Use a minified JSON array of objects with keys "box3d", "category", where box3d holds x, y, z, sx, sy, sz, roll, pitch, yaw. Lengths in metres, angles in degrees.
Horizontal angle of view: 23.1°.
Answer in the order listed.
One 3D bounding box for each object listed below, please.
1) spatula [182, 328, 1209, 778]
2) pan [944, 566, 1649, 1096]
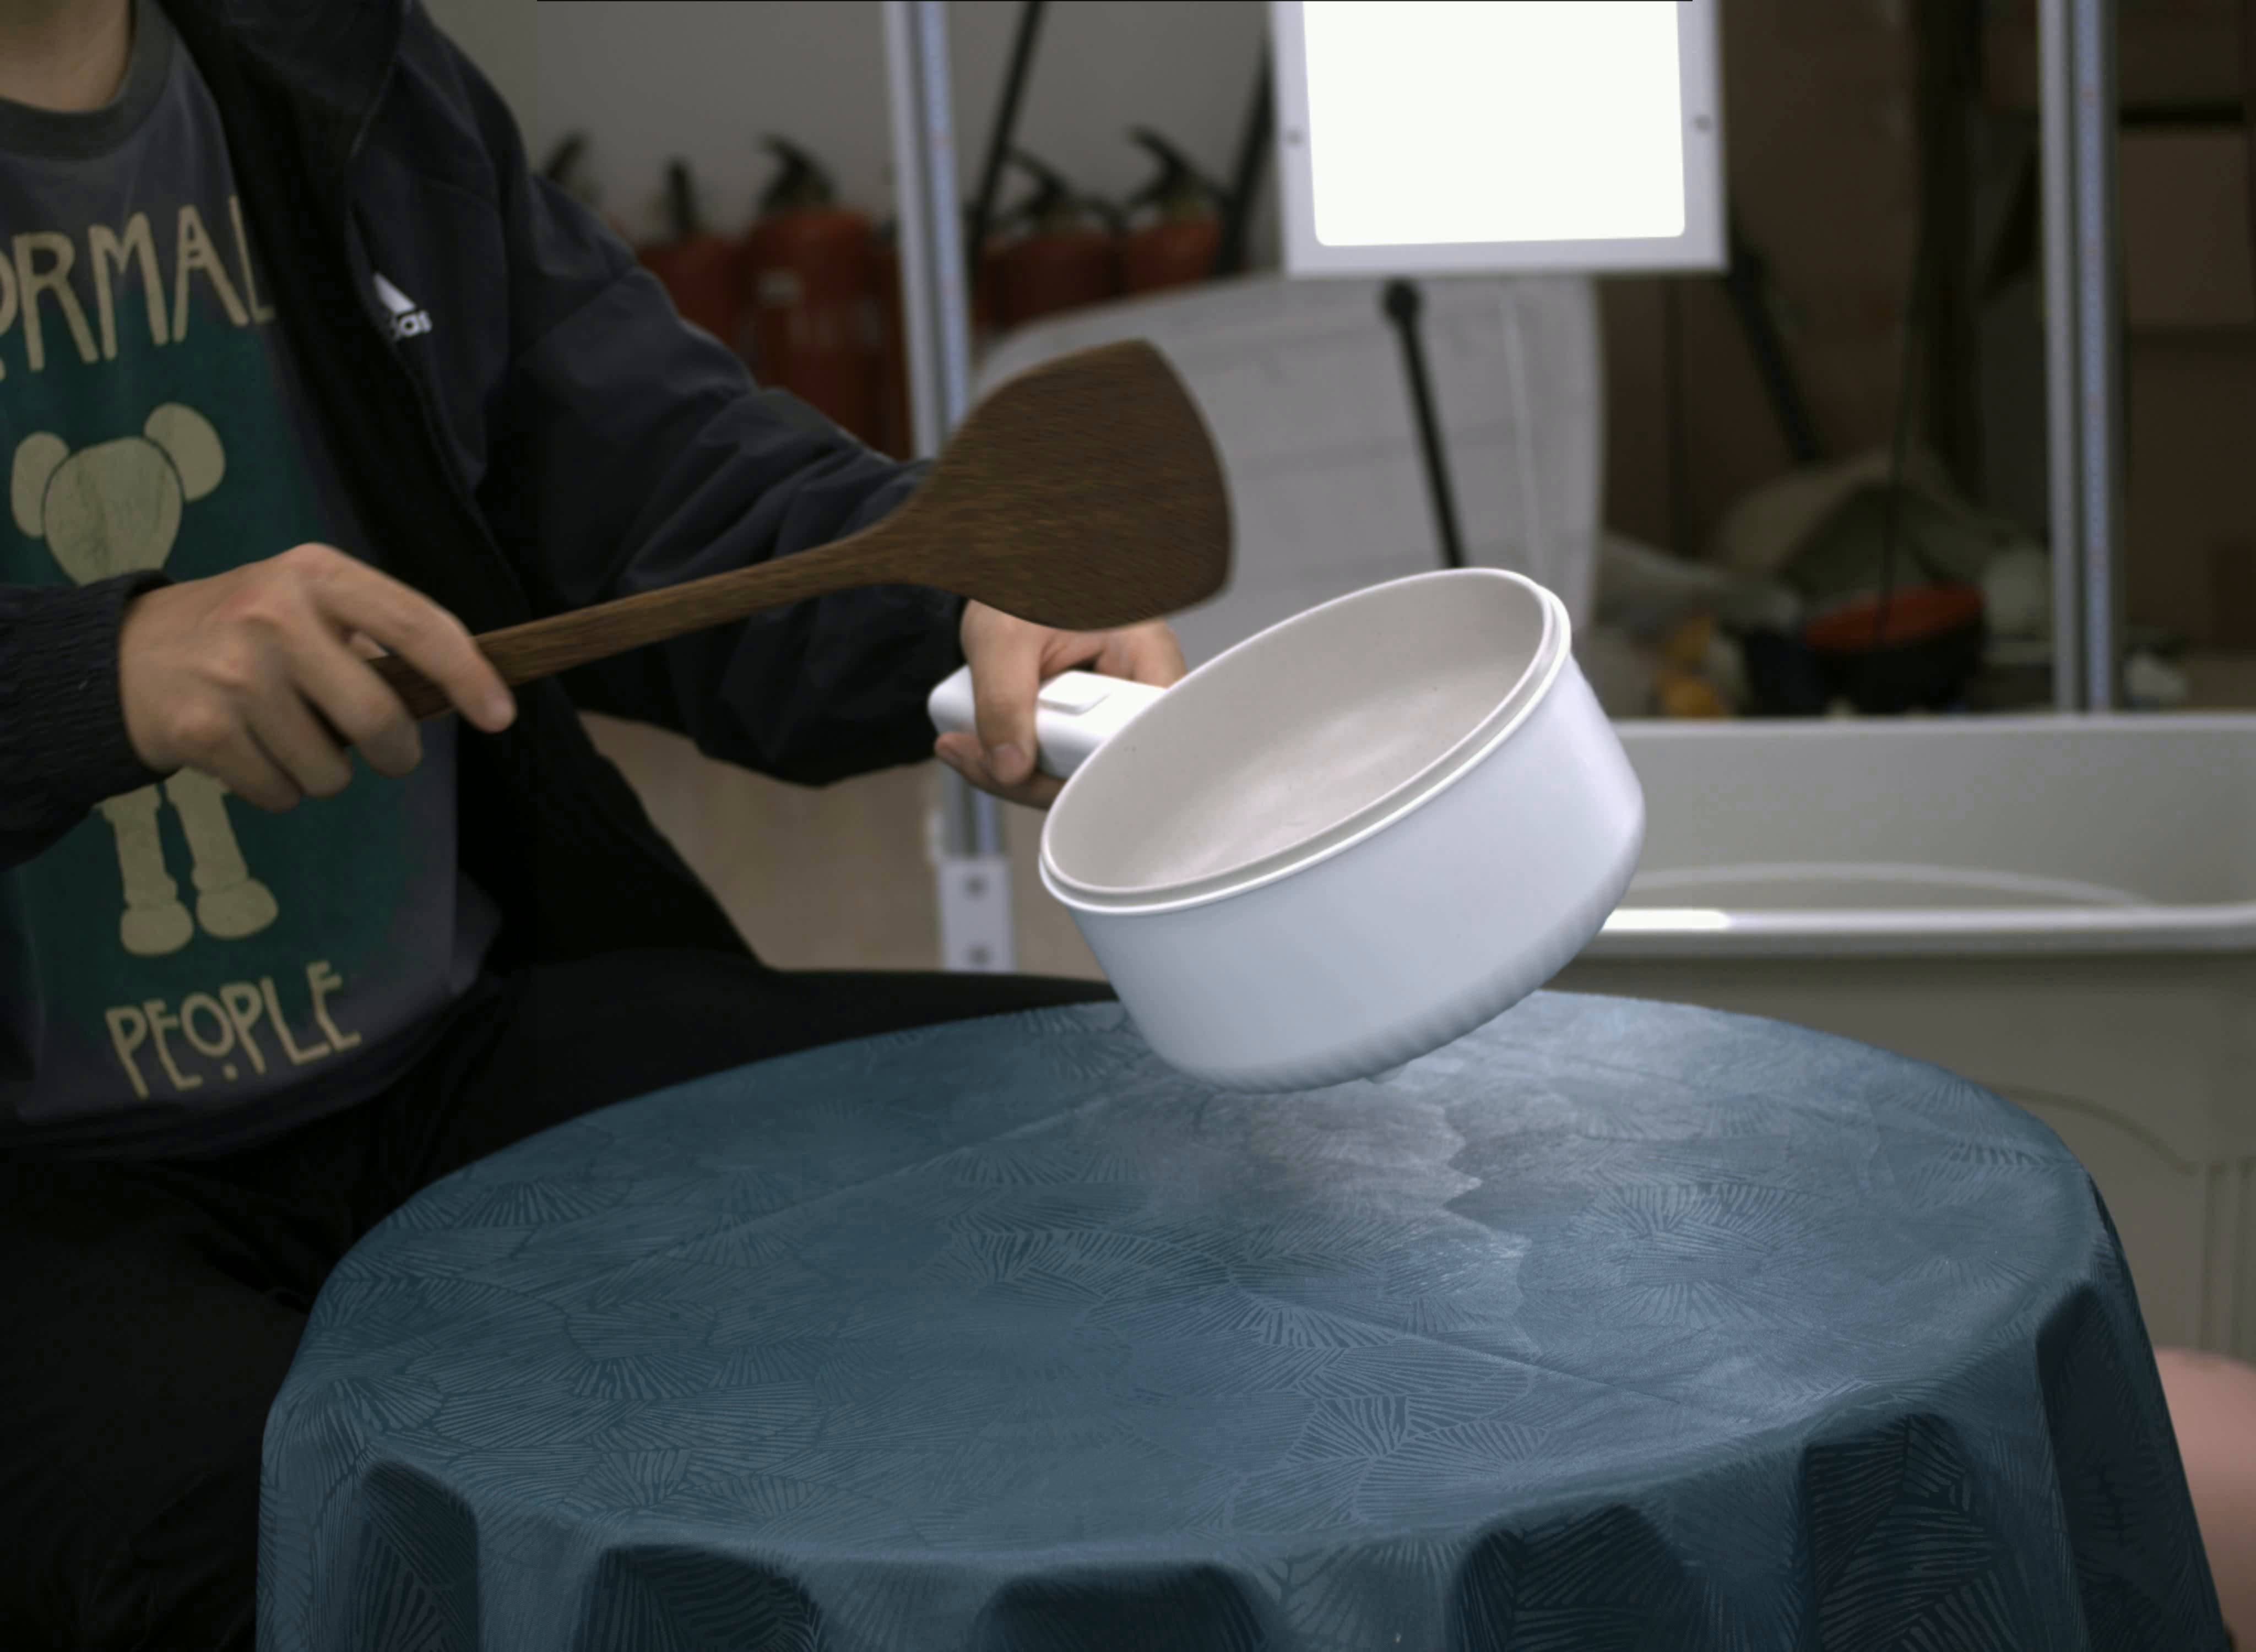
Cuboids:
[{"box3d":[-0.154,-0.075,1.857,0.392,0.096,0.015,-15,16,23],"category":"spatula"},{"box3d":[0.044,0.000,1.958,0.198,0.101,0.361,-38,21,-19],"category":"pan"}]
